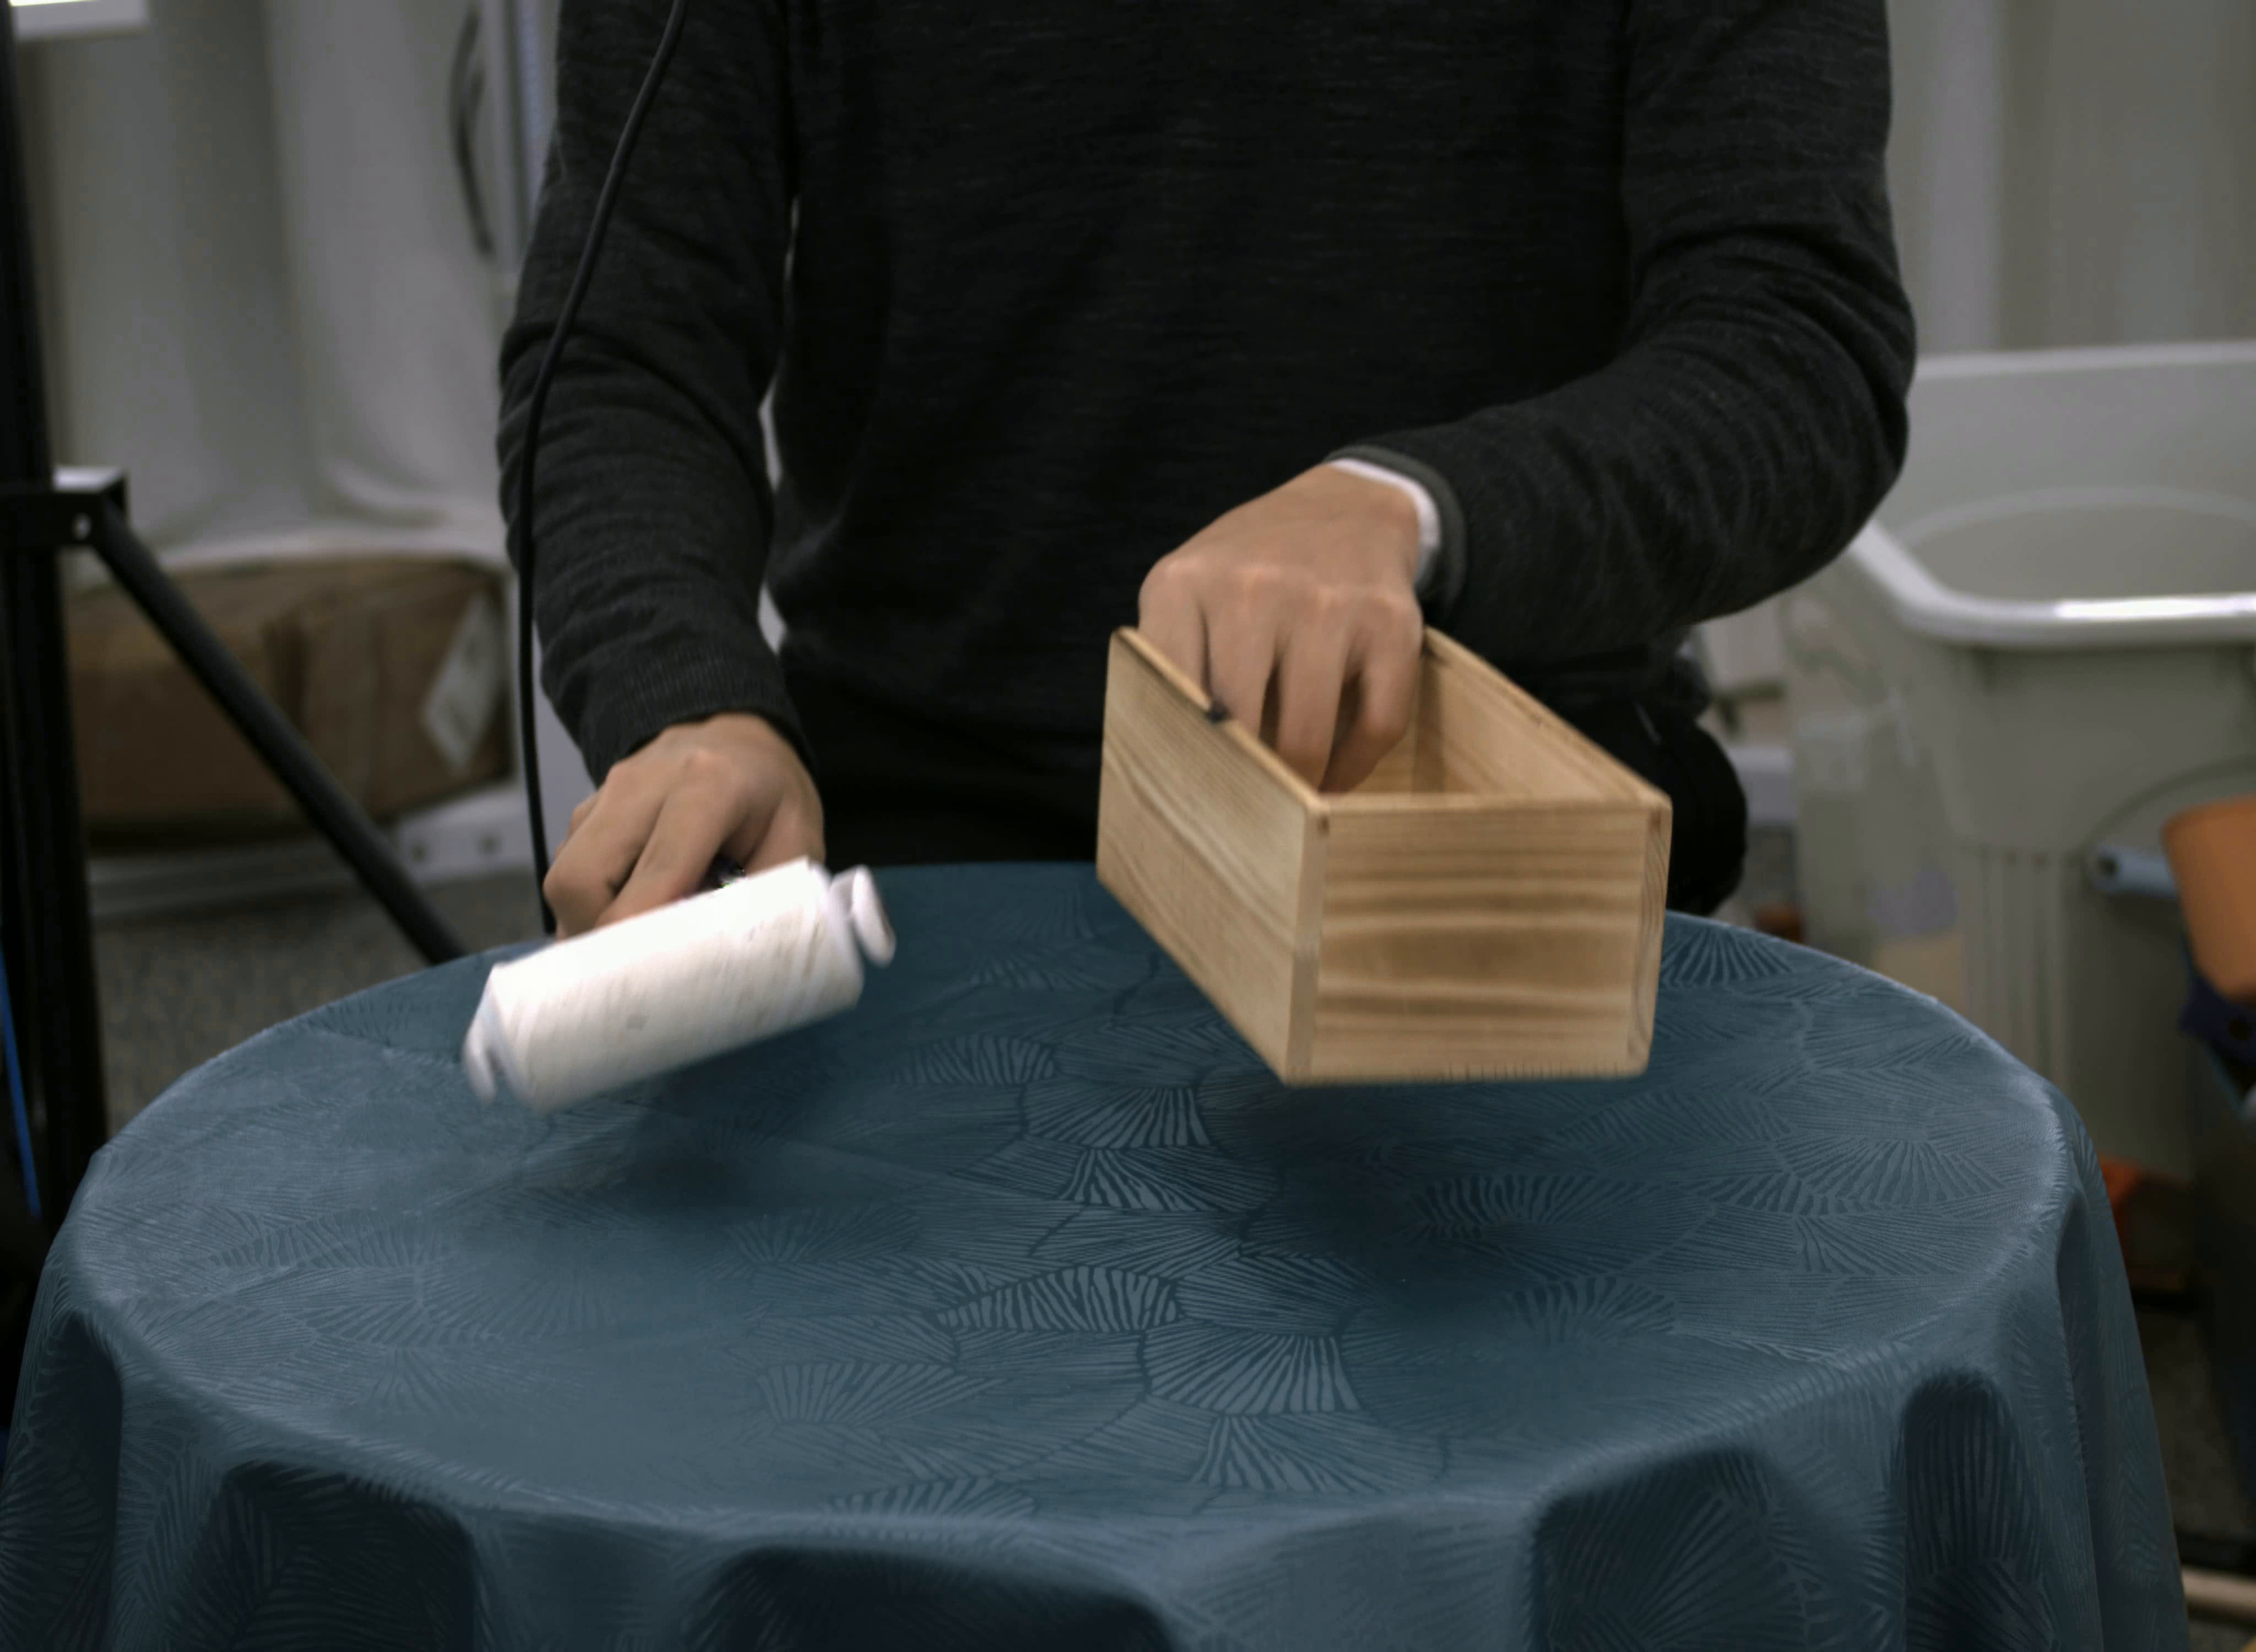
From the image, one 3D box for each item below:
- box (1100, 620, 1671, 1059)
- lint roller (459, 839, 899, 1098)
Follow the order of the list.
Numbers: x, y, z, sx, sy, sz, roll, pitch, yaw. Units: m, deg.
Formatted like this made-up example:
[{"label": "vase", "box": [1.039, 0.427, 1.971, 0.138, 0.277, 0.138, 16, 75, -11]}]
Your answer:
[{"label": "box", "box": [0.070, 0.000, 1.534, 0.106, 0.080, 0.214, 0, 13, -14]}, {"label": "lint roller", "box": [-0.138, 0.022, 1.634, 0.132, 0.050, 0.182, -21, 20, 2]}]
